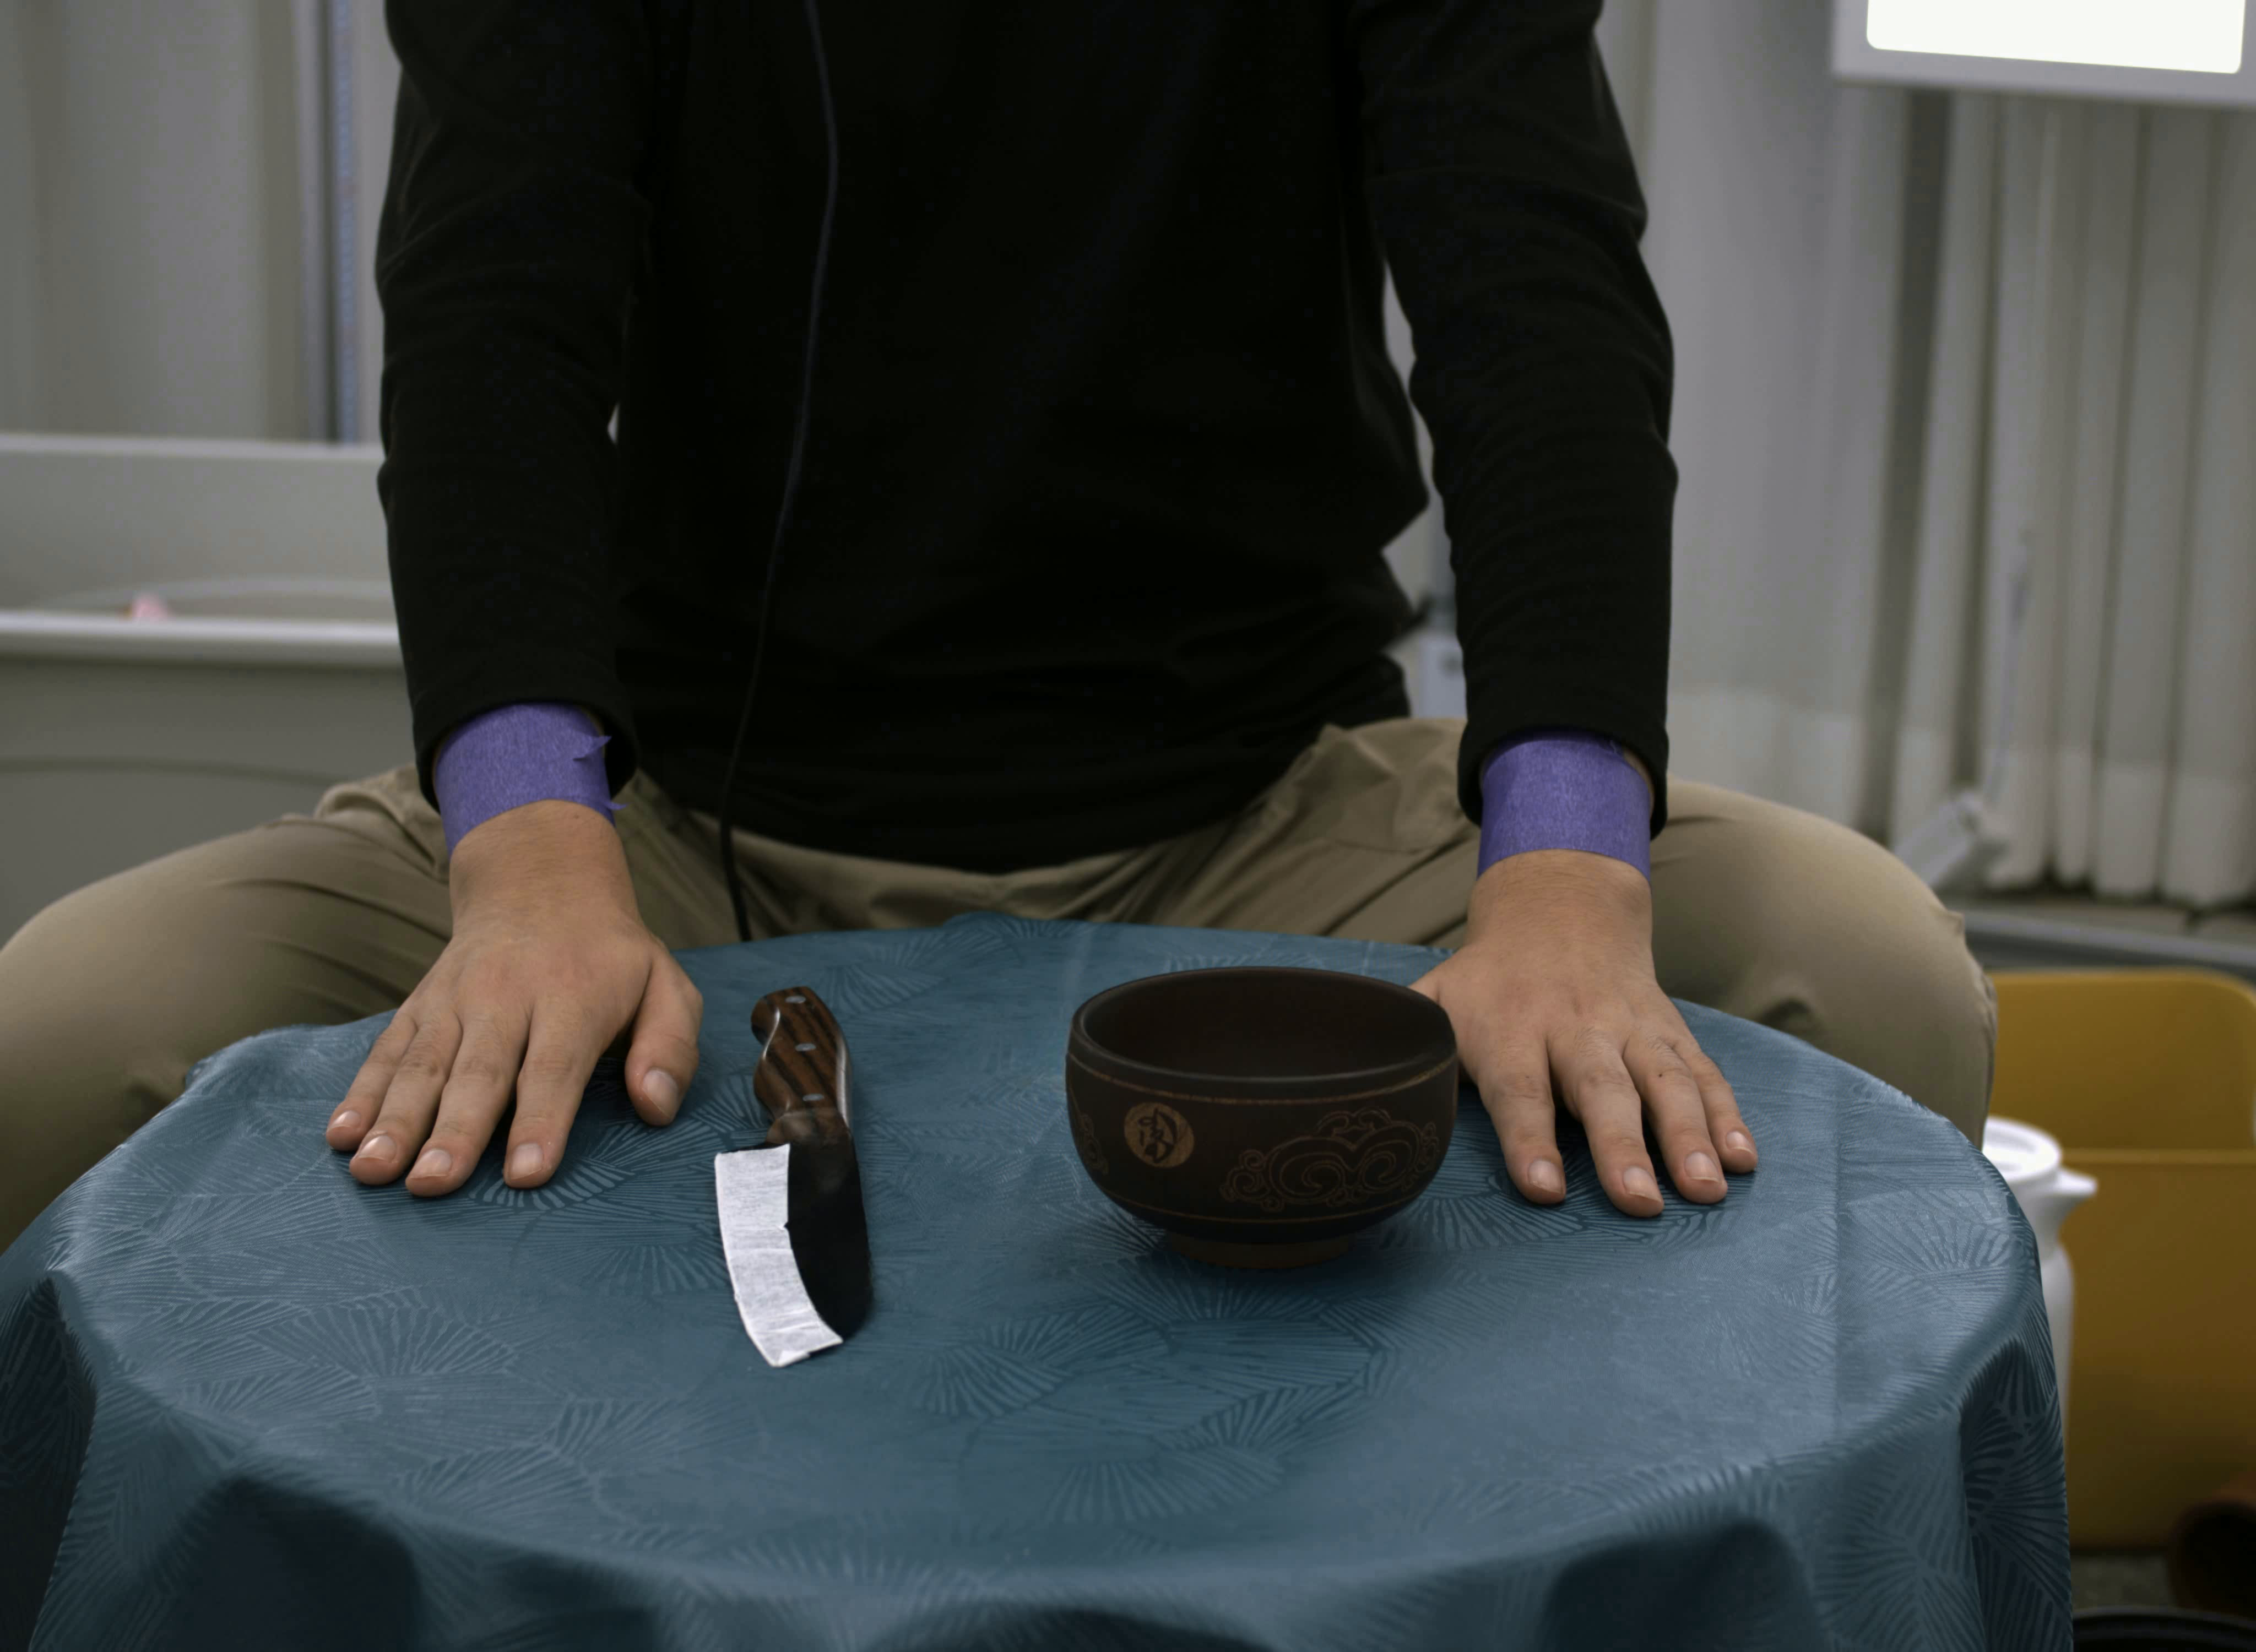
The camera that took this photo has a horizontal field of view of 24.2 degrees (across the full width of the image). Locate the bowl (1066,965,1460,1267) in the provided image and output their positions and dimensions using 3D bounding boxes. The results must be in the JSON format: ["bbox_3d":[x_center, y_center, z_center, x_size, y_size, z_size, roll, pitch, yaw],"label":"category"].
[{"bbox_3d":[0.041,0.090,1.574,0.117,0.070,0.117,0,15,1],"label":"bowl"}]

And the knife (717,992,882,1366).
[{"bbox_3d":[-0.101,0.107,1.612,0.050,0.020,0.287,-5,18,-2],"label":"knife"}]
